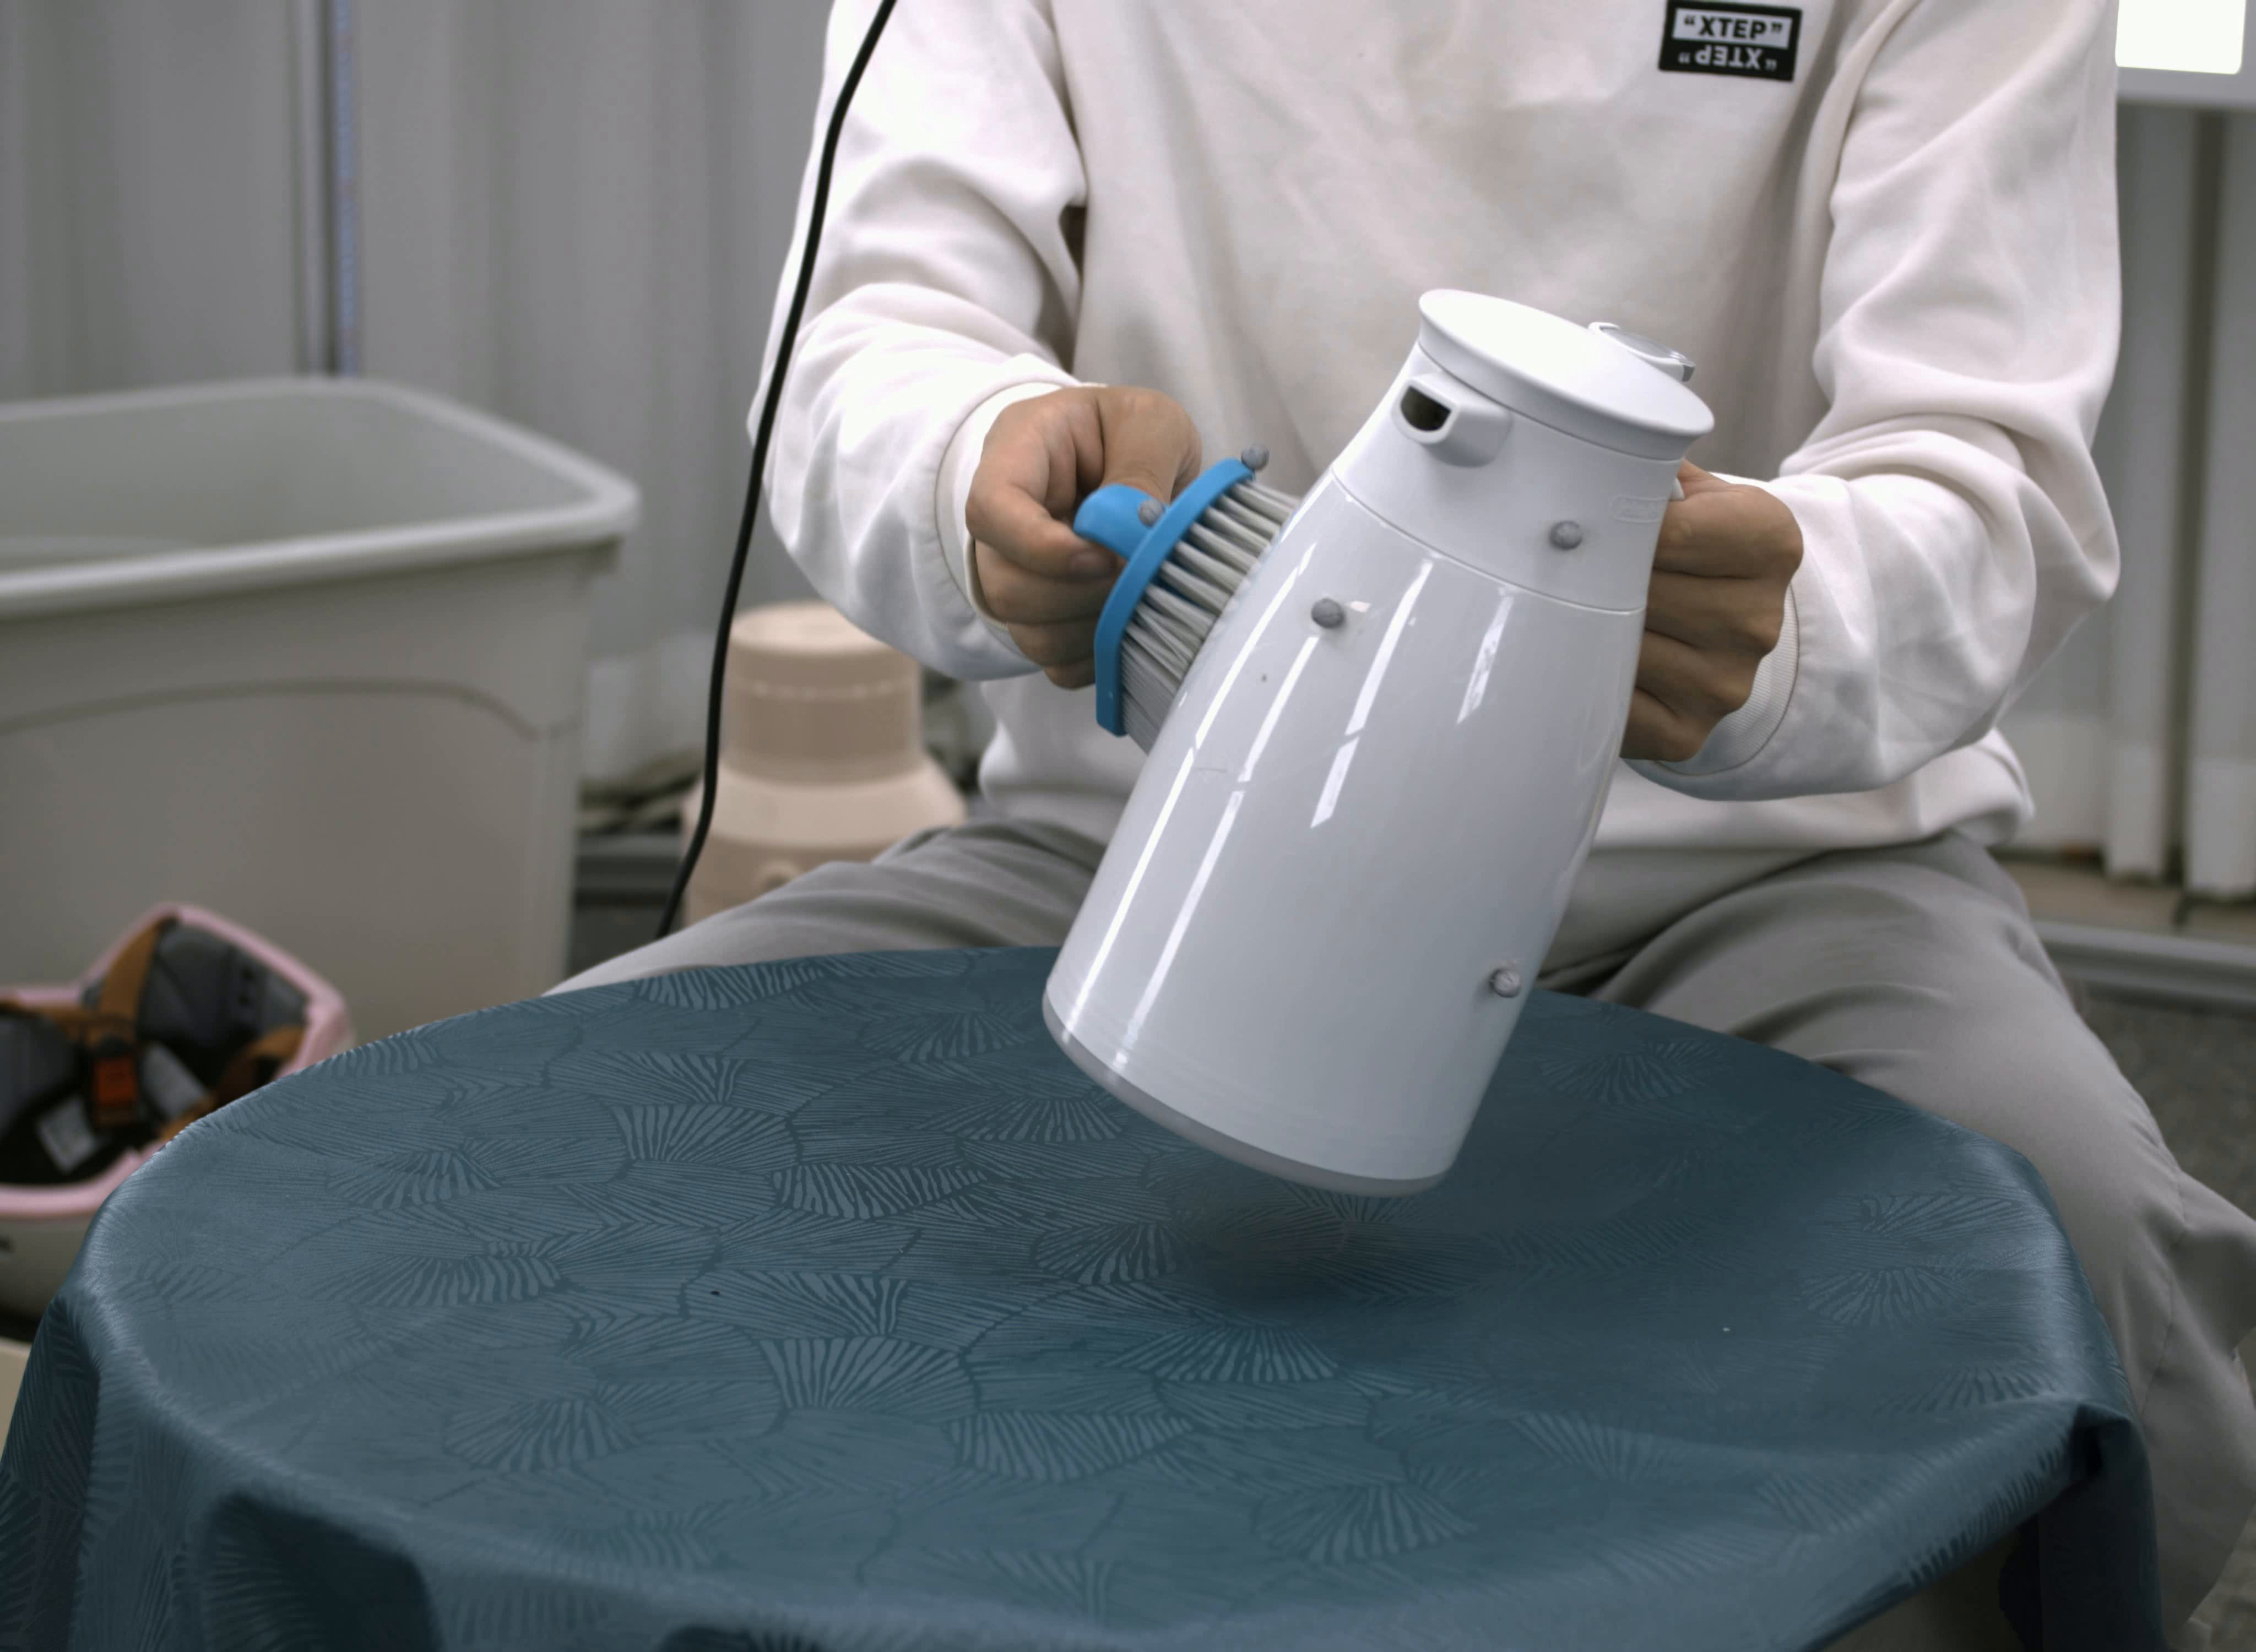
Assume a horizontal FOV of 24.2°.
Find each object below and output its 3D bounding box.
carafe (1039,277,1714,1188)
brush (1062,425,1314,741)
[{"bbox_3d":[0.091,-0.035,1.549,0.131,0.250,0.169,33,19,29],"label":"carafe"},{"bbox_3d":[0.012,-0.075,1.608,0.063,0.084,0.142,31,-11,11],"label":"brush"}]
